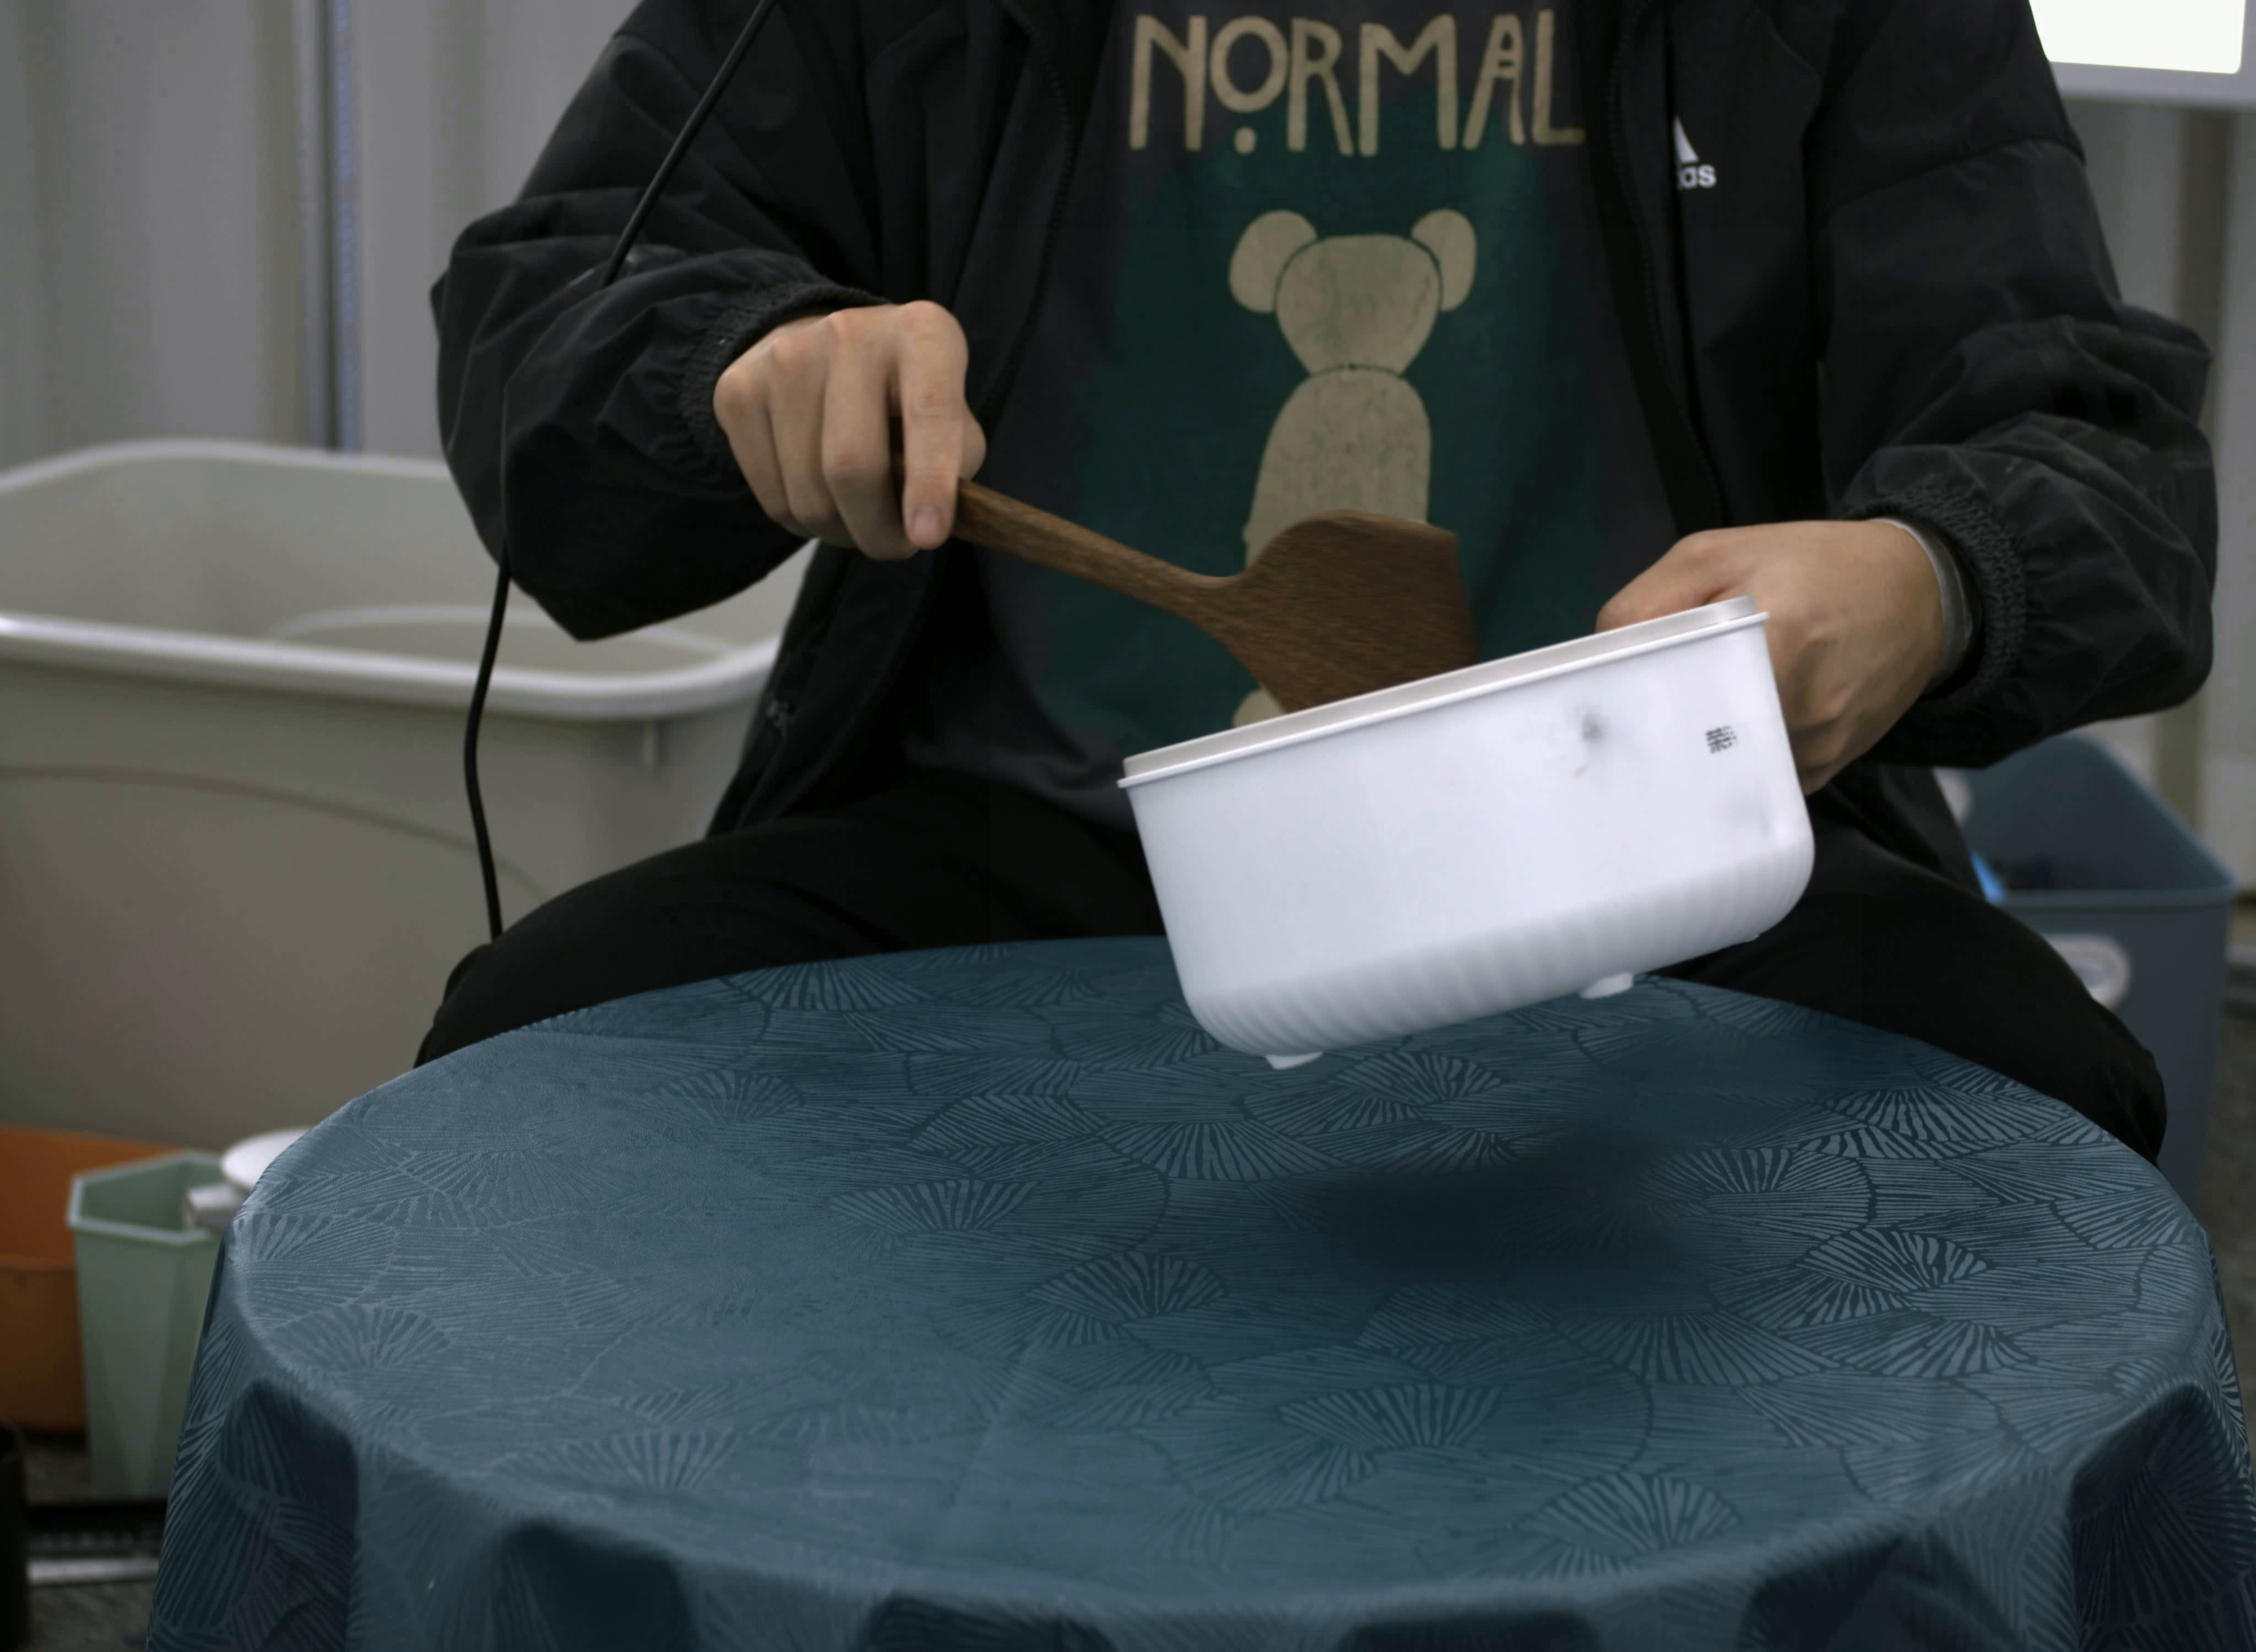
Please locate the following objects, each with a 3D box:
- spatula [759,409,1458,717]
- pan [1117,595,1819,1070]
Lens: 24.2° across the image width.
[{"bbox_3d":[-0.015,-0.088,1.681,0.016,0.097,0.381,-22,26,-29],"label":"spatula"},{"bbox_3d":[0.140,-0.003,1.640,0.199,0.102,0.356,-15,-2,28],"label":"pan"}]
